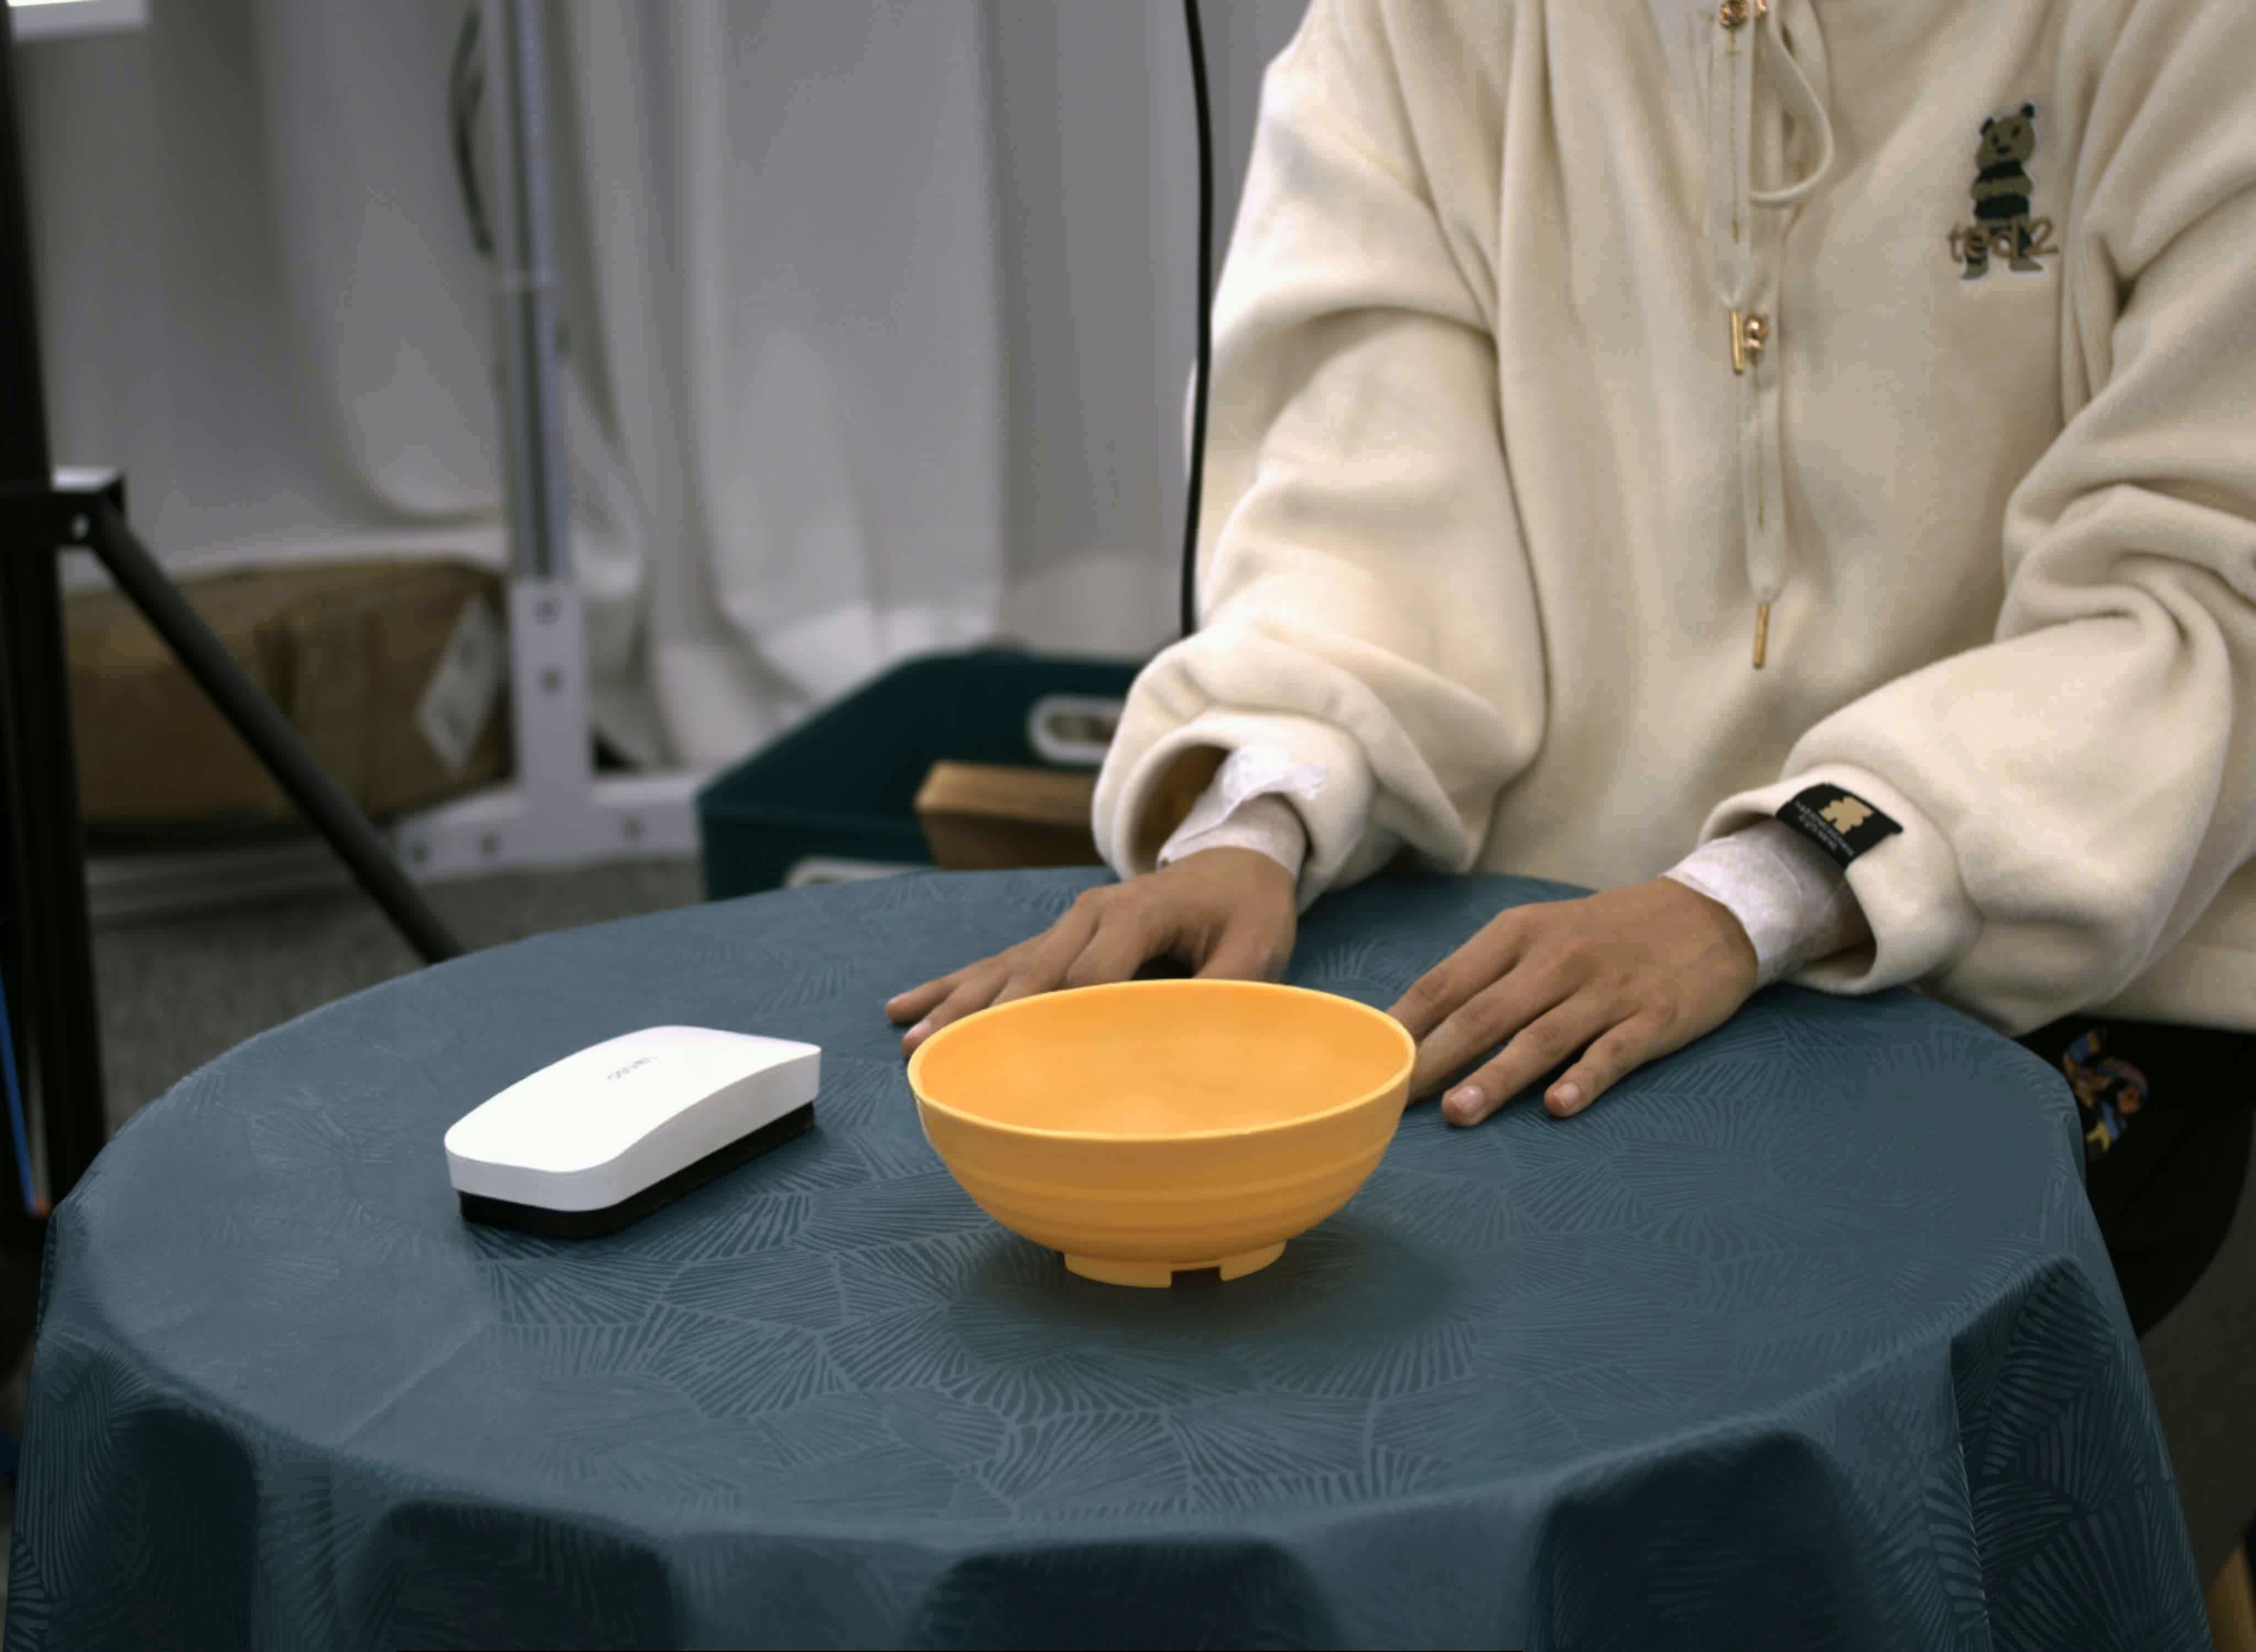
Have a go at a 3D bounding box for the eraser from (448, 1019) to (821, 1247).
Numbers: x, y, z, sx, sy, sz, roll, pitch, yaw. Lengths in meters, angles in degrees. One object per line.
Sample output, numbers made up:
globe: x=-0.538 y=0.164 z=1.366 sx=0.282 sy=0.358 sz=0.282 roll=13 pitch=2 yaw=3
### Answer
eraser: x=-0.145 y=0.088 z=1.596 sx=0.064 sy=0.034 sz=0.129 roll=9 pitch=20 yaw=30

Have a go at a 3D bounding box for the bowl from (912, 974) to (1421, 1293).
bowl: x=0.013 y=0.093 z=1.503 sx=0.144 sy=0.060 sz=0.146 roll=-5 pitch=17 yaw=0
